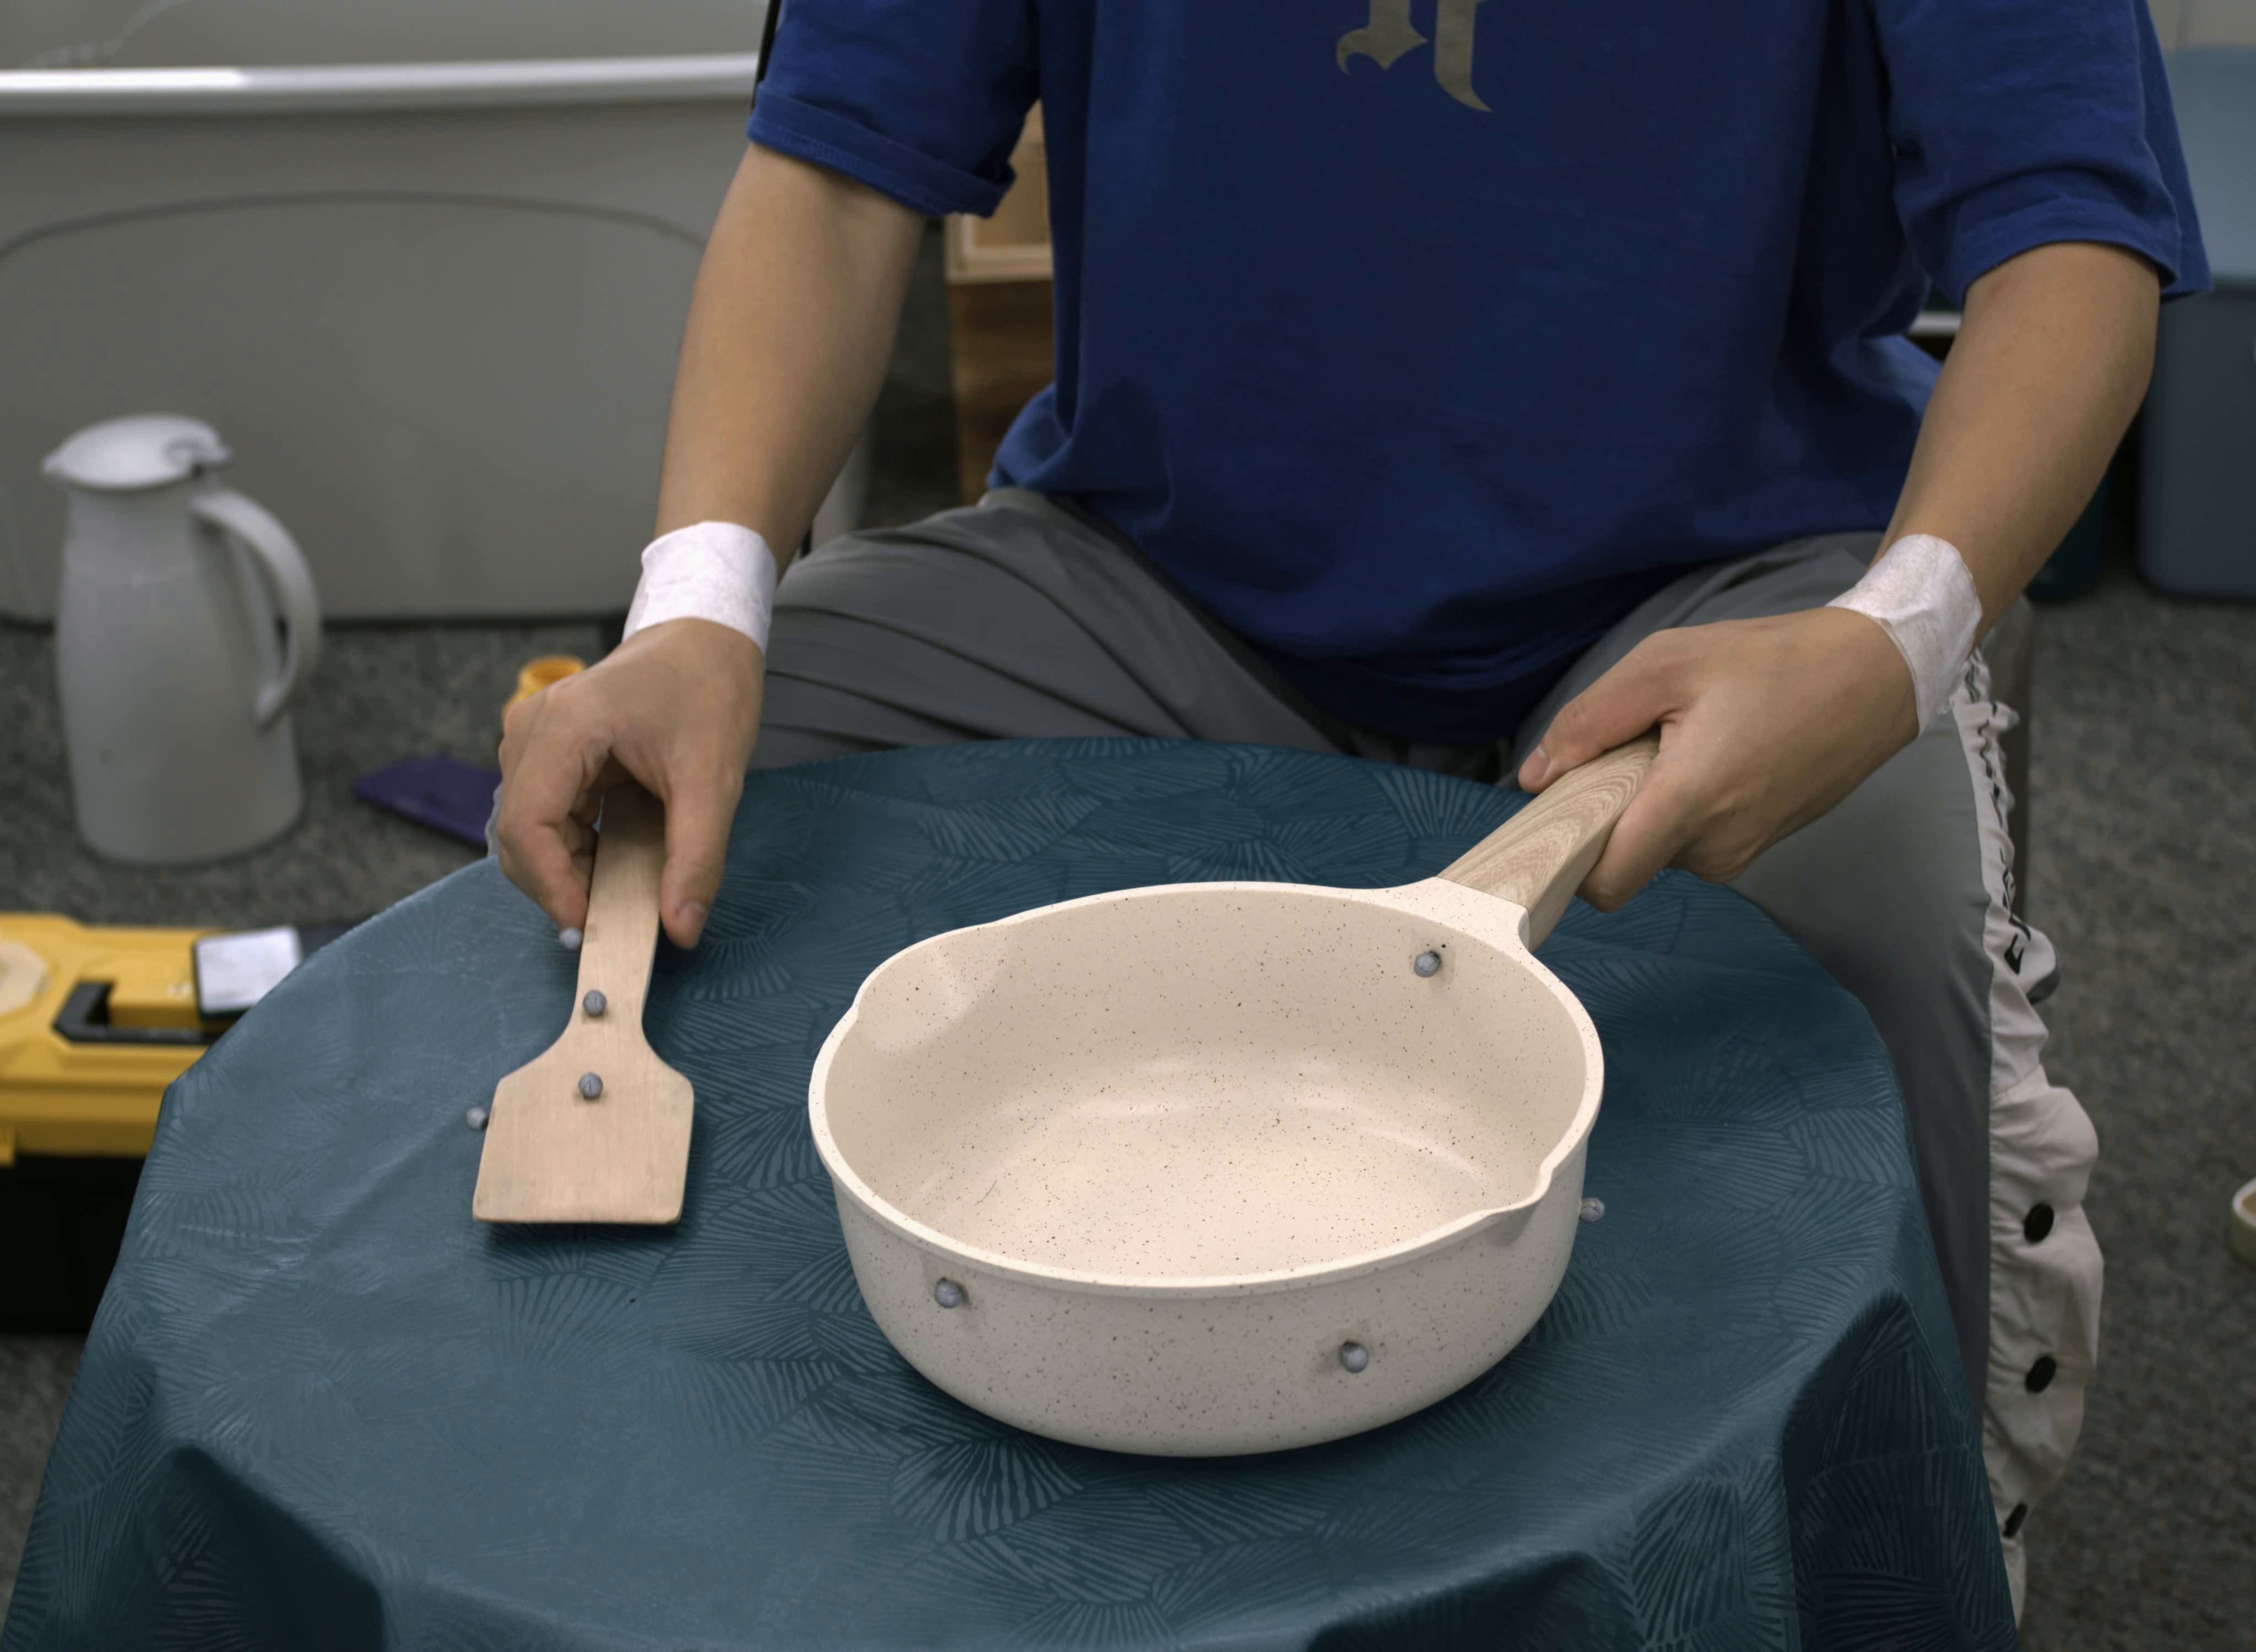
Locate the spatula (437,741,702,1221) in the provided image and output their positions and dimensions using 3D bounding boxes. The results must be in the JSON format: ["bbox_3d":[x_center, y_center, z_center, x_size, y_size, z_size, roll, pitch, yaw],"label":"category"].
[{"bbox_3d":[-0.184,0.051,1.973,0.072,0.010,0.298,1,33,4],"label":"spatula"}]

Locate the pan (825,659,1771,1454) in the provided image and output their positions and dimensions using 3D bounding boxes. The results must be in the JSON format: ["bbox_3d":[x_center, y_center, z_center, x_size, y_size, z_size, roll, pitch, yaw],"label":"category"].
[{"bbox_3d":[0.088,0.071,1.844,0.262,0.101,0.441,16,32,36],"label":"pan"}]
